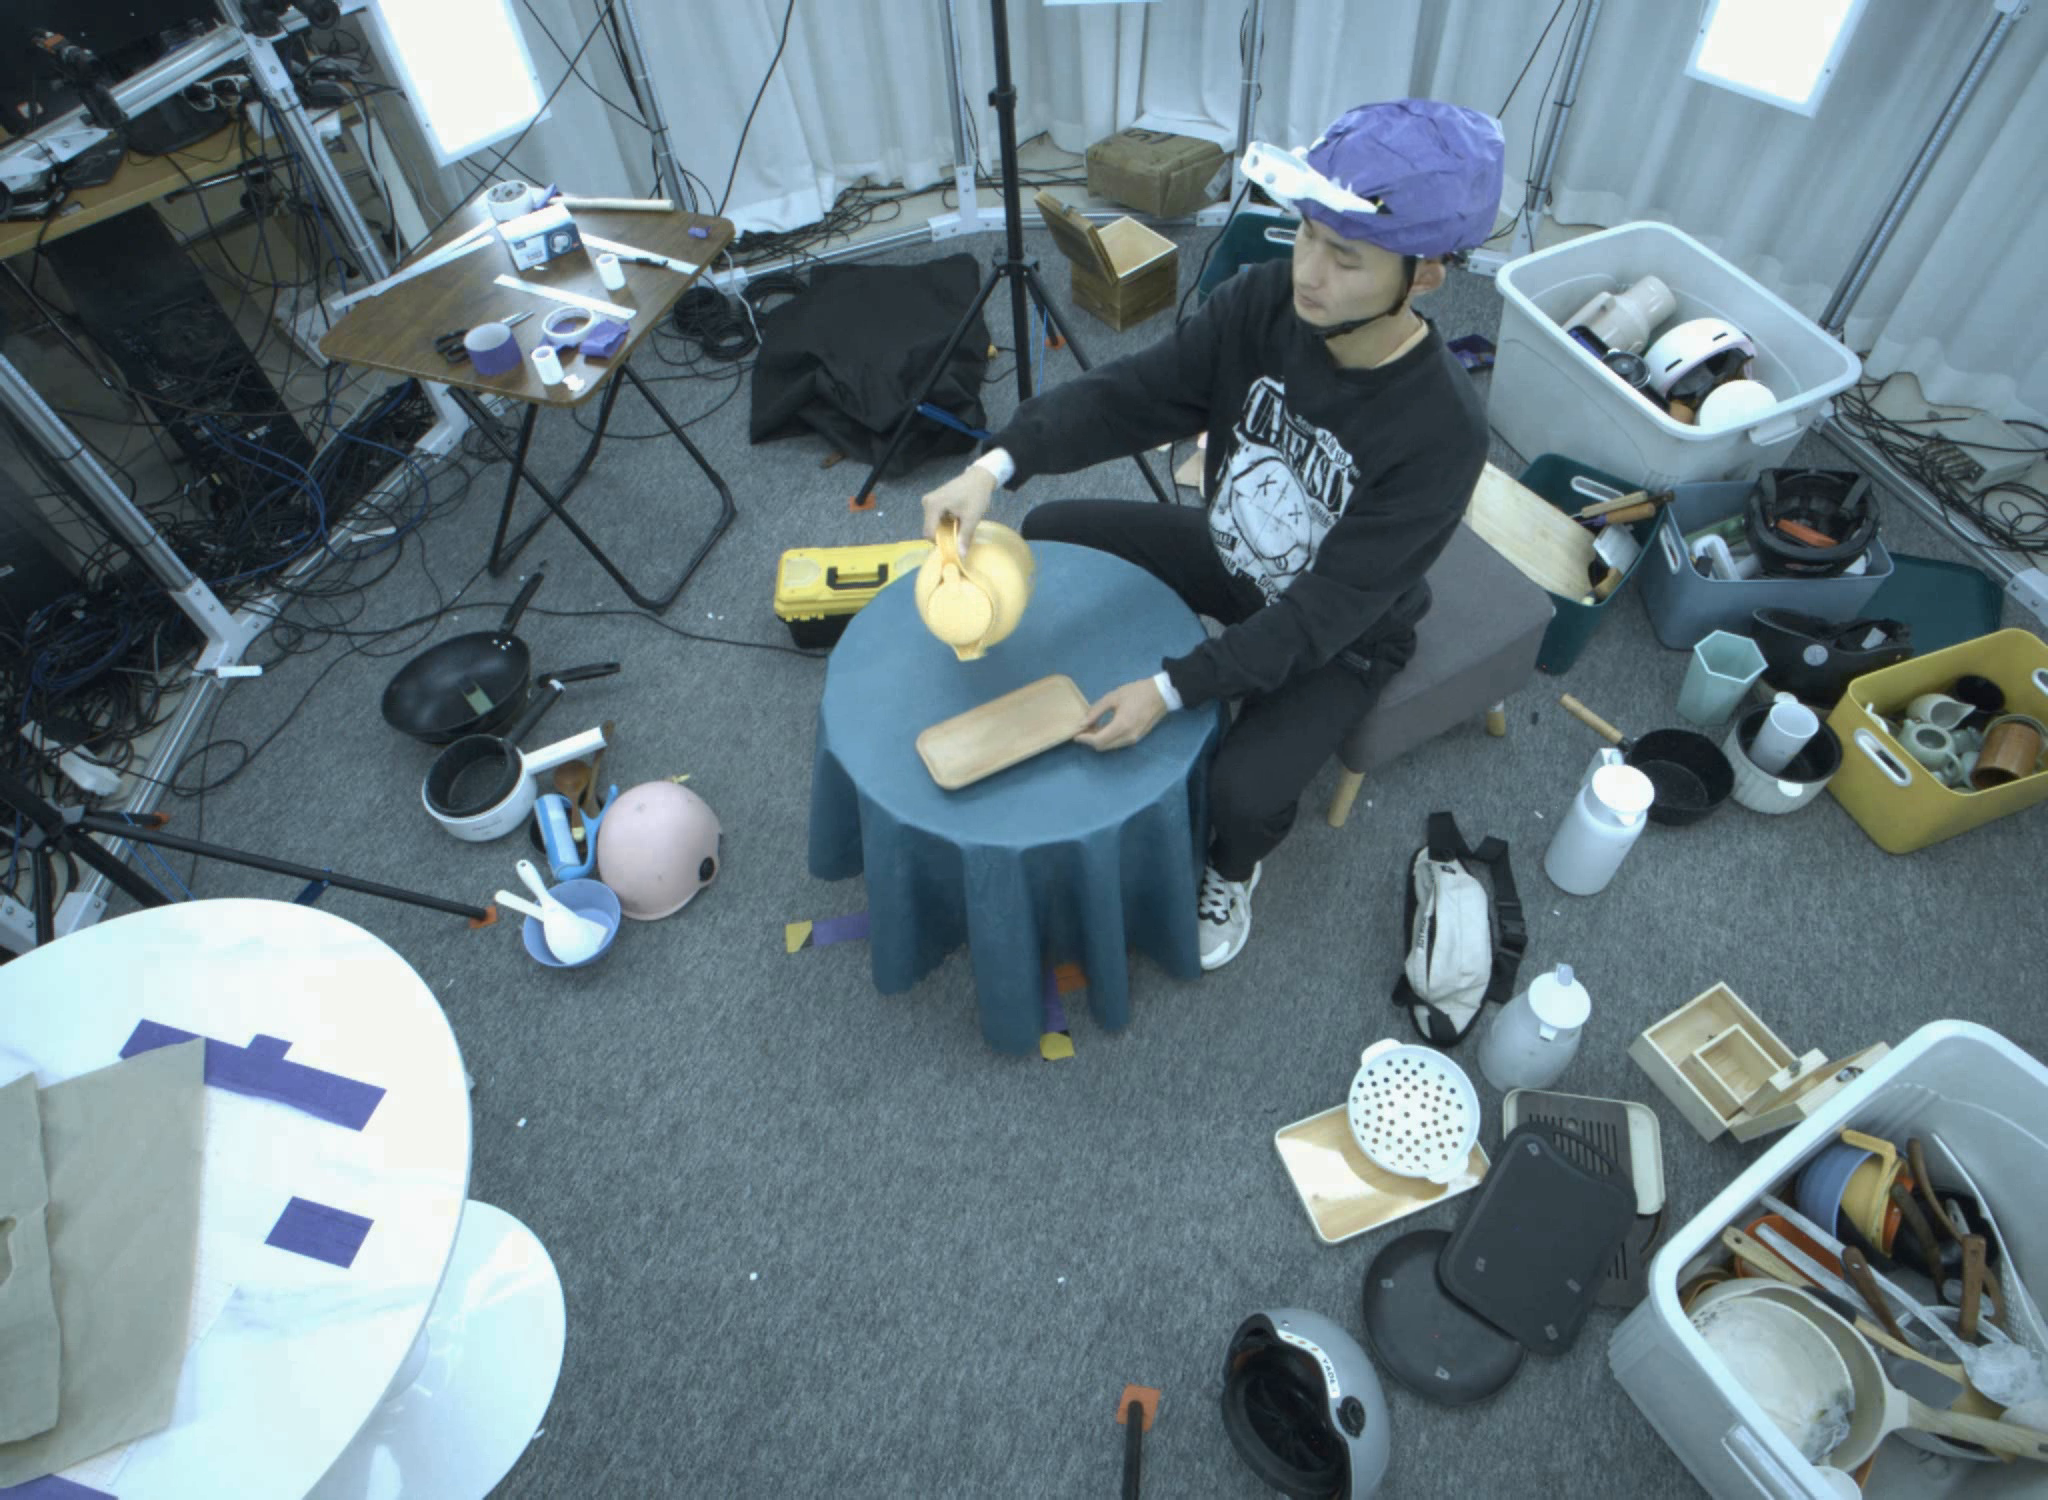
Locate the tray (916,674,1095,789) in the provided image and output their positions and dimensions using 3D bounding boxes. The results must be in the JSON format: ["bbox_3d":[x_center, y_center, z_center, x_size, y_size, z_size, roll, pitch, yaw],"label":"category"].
[{"bbox_3d":[-0.027,-0.028,1.776,0.252,0.023,0.128,-23,50,-10],"label":"tray"}]

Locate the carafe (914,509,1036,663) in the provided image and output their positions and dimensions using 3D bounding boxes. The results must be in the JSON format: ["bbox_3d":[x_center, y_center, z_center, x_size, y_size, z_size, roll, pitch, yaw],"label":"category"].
[{"bbox_3d":[-0.075,-0.245,1.734,0.163,0.204,0.259,-6,23,7],"label":"carafe"}]
